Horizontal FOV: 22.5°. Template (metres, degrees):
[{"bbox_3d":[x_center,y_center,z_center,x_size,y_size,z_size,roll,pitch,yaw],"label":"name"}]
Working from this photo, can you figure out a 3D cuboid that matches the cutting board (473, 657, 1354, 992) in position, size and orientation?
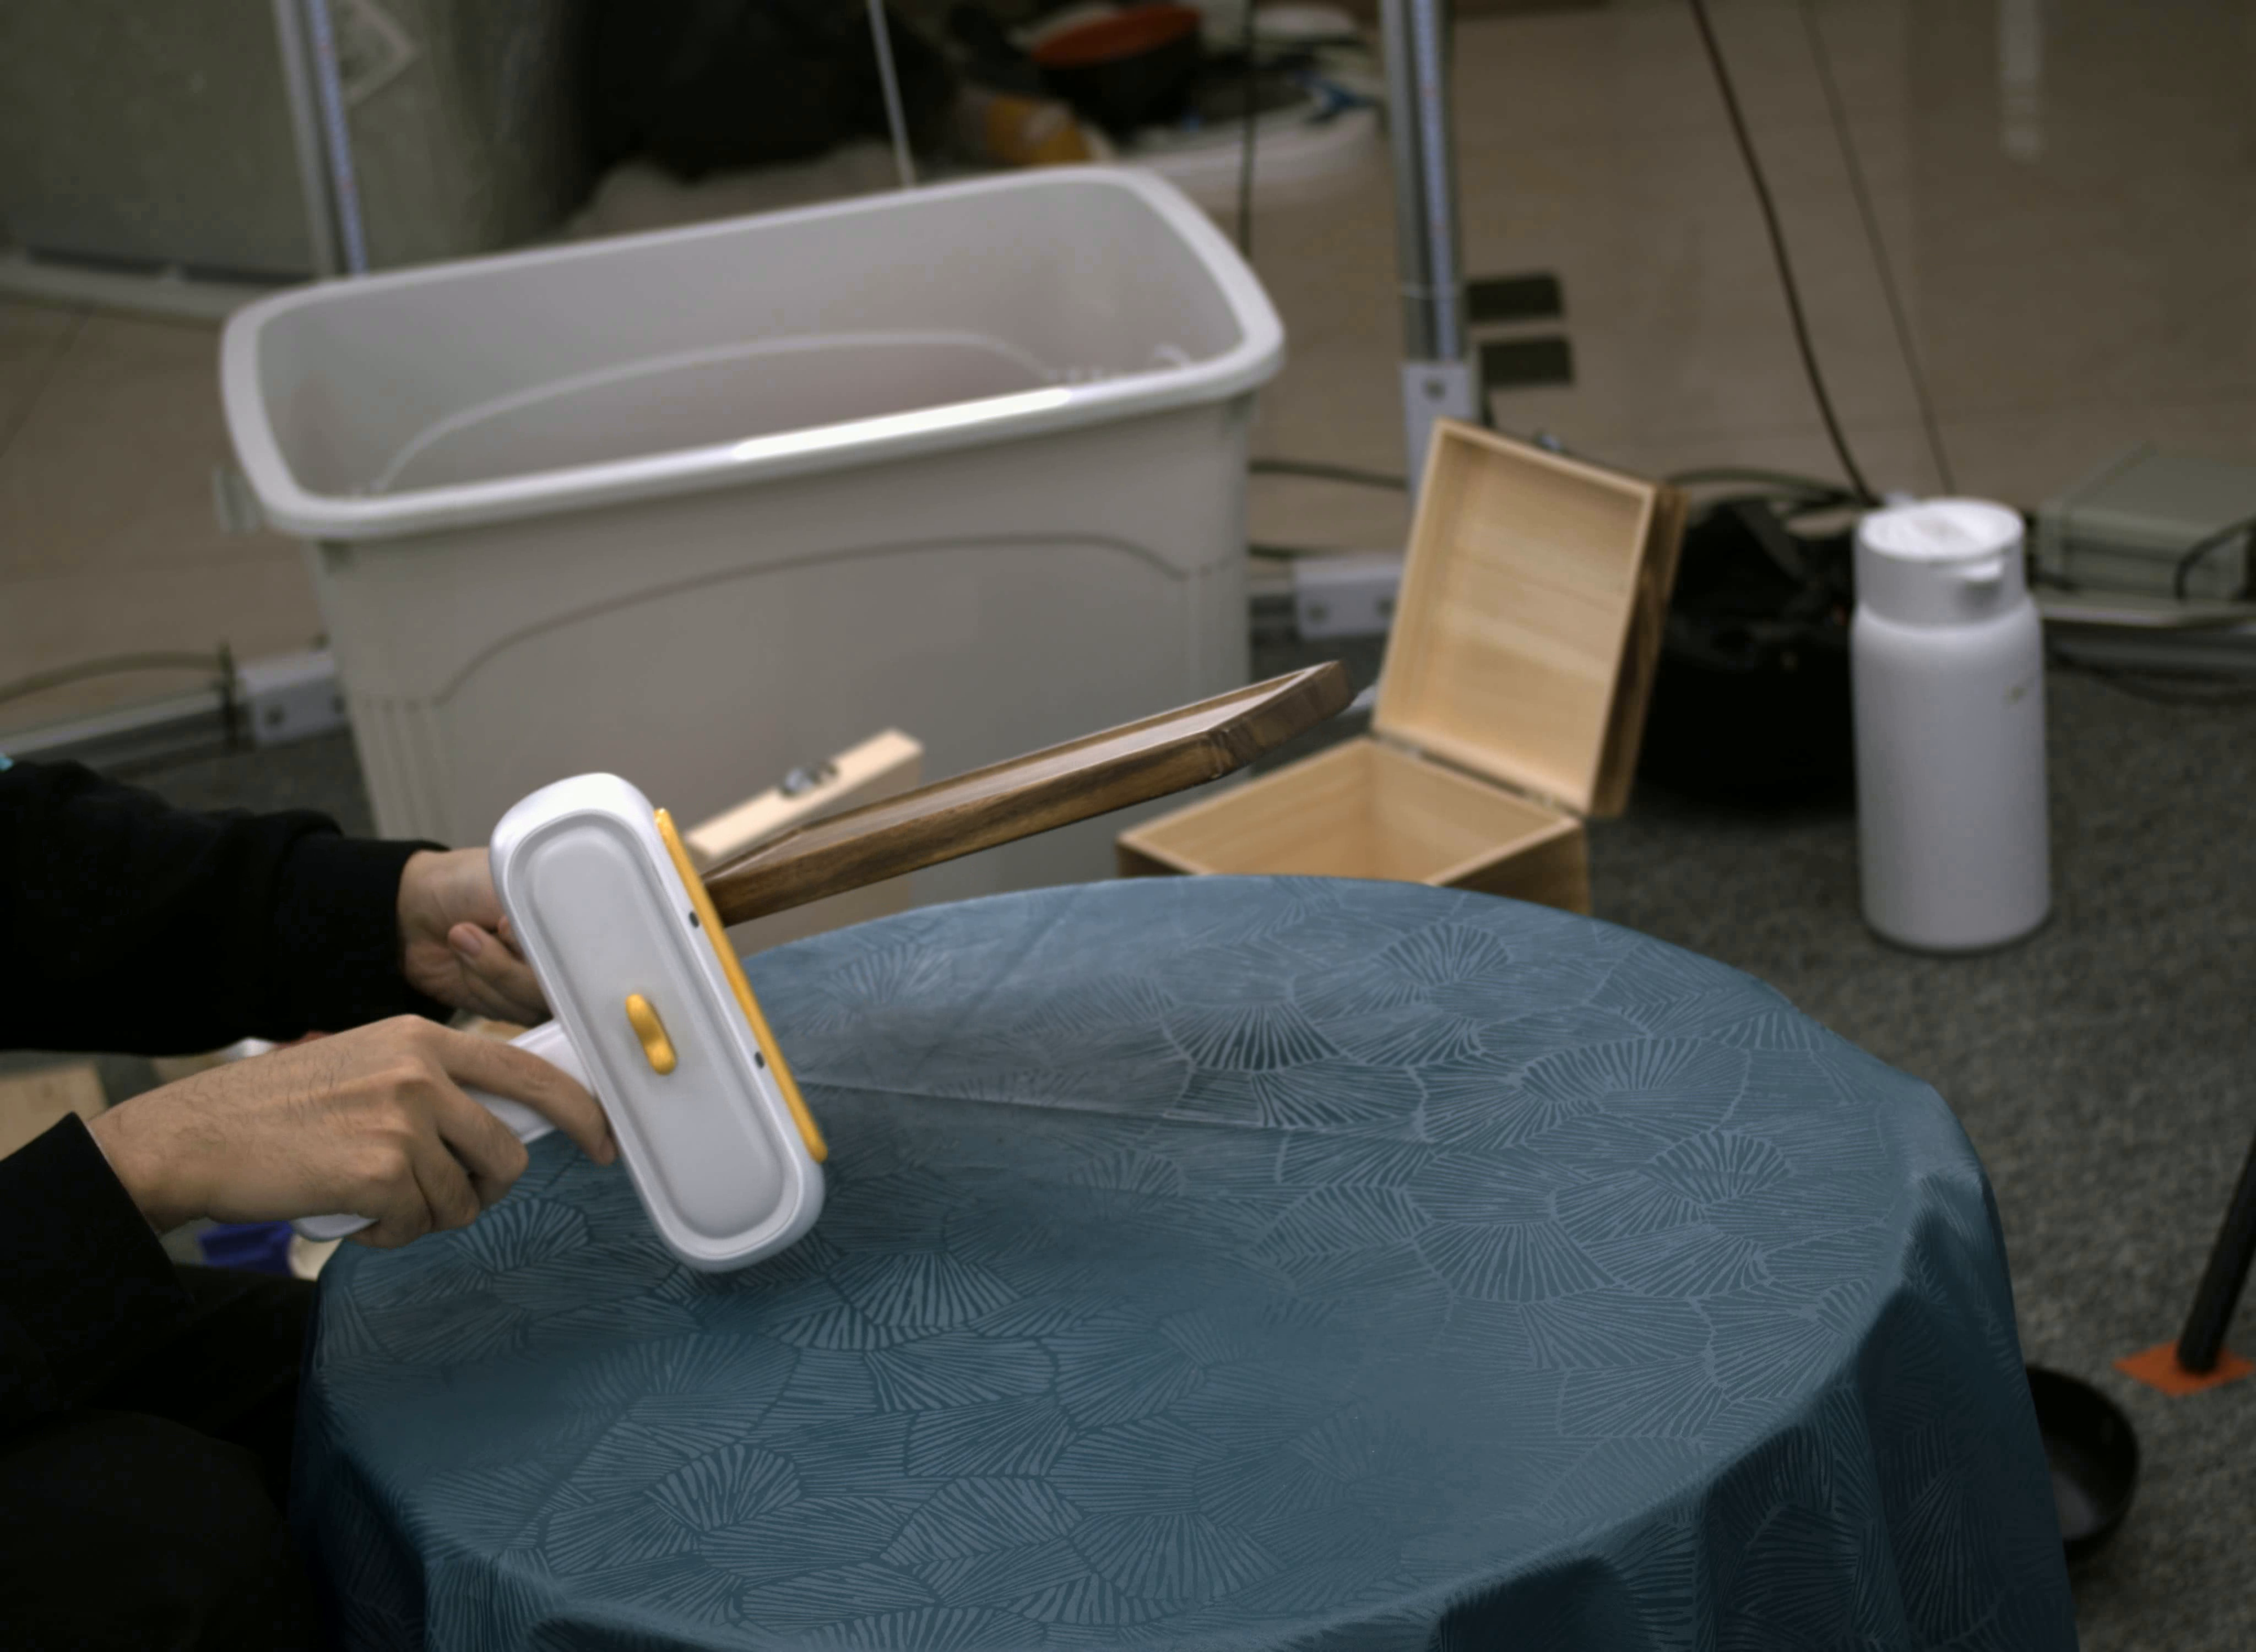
[{"bbox_3d":[-0.095,0.005,2.187,0.353,0.023,0.200,-17,5,18],"label":"cutting board"}]

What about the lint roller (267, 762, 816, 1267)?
[{"bbox_3d":[-0.229,0.097,2.077,0.192,0.194,0.074,-29,14,-7],"label":"lint roller"}]
